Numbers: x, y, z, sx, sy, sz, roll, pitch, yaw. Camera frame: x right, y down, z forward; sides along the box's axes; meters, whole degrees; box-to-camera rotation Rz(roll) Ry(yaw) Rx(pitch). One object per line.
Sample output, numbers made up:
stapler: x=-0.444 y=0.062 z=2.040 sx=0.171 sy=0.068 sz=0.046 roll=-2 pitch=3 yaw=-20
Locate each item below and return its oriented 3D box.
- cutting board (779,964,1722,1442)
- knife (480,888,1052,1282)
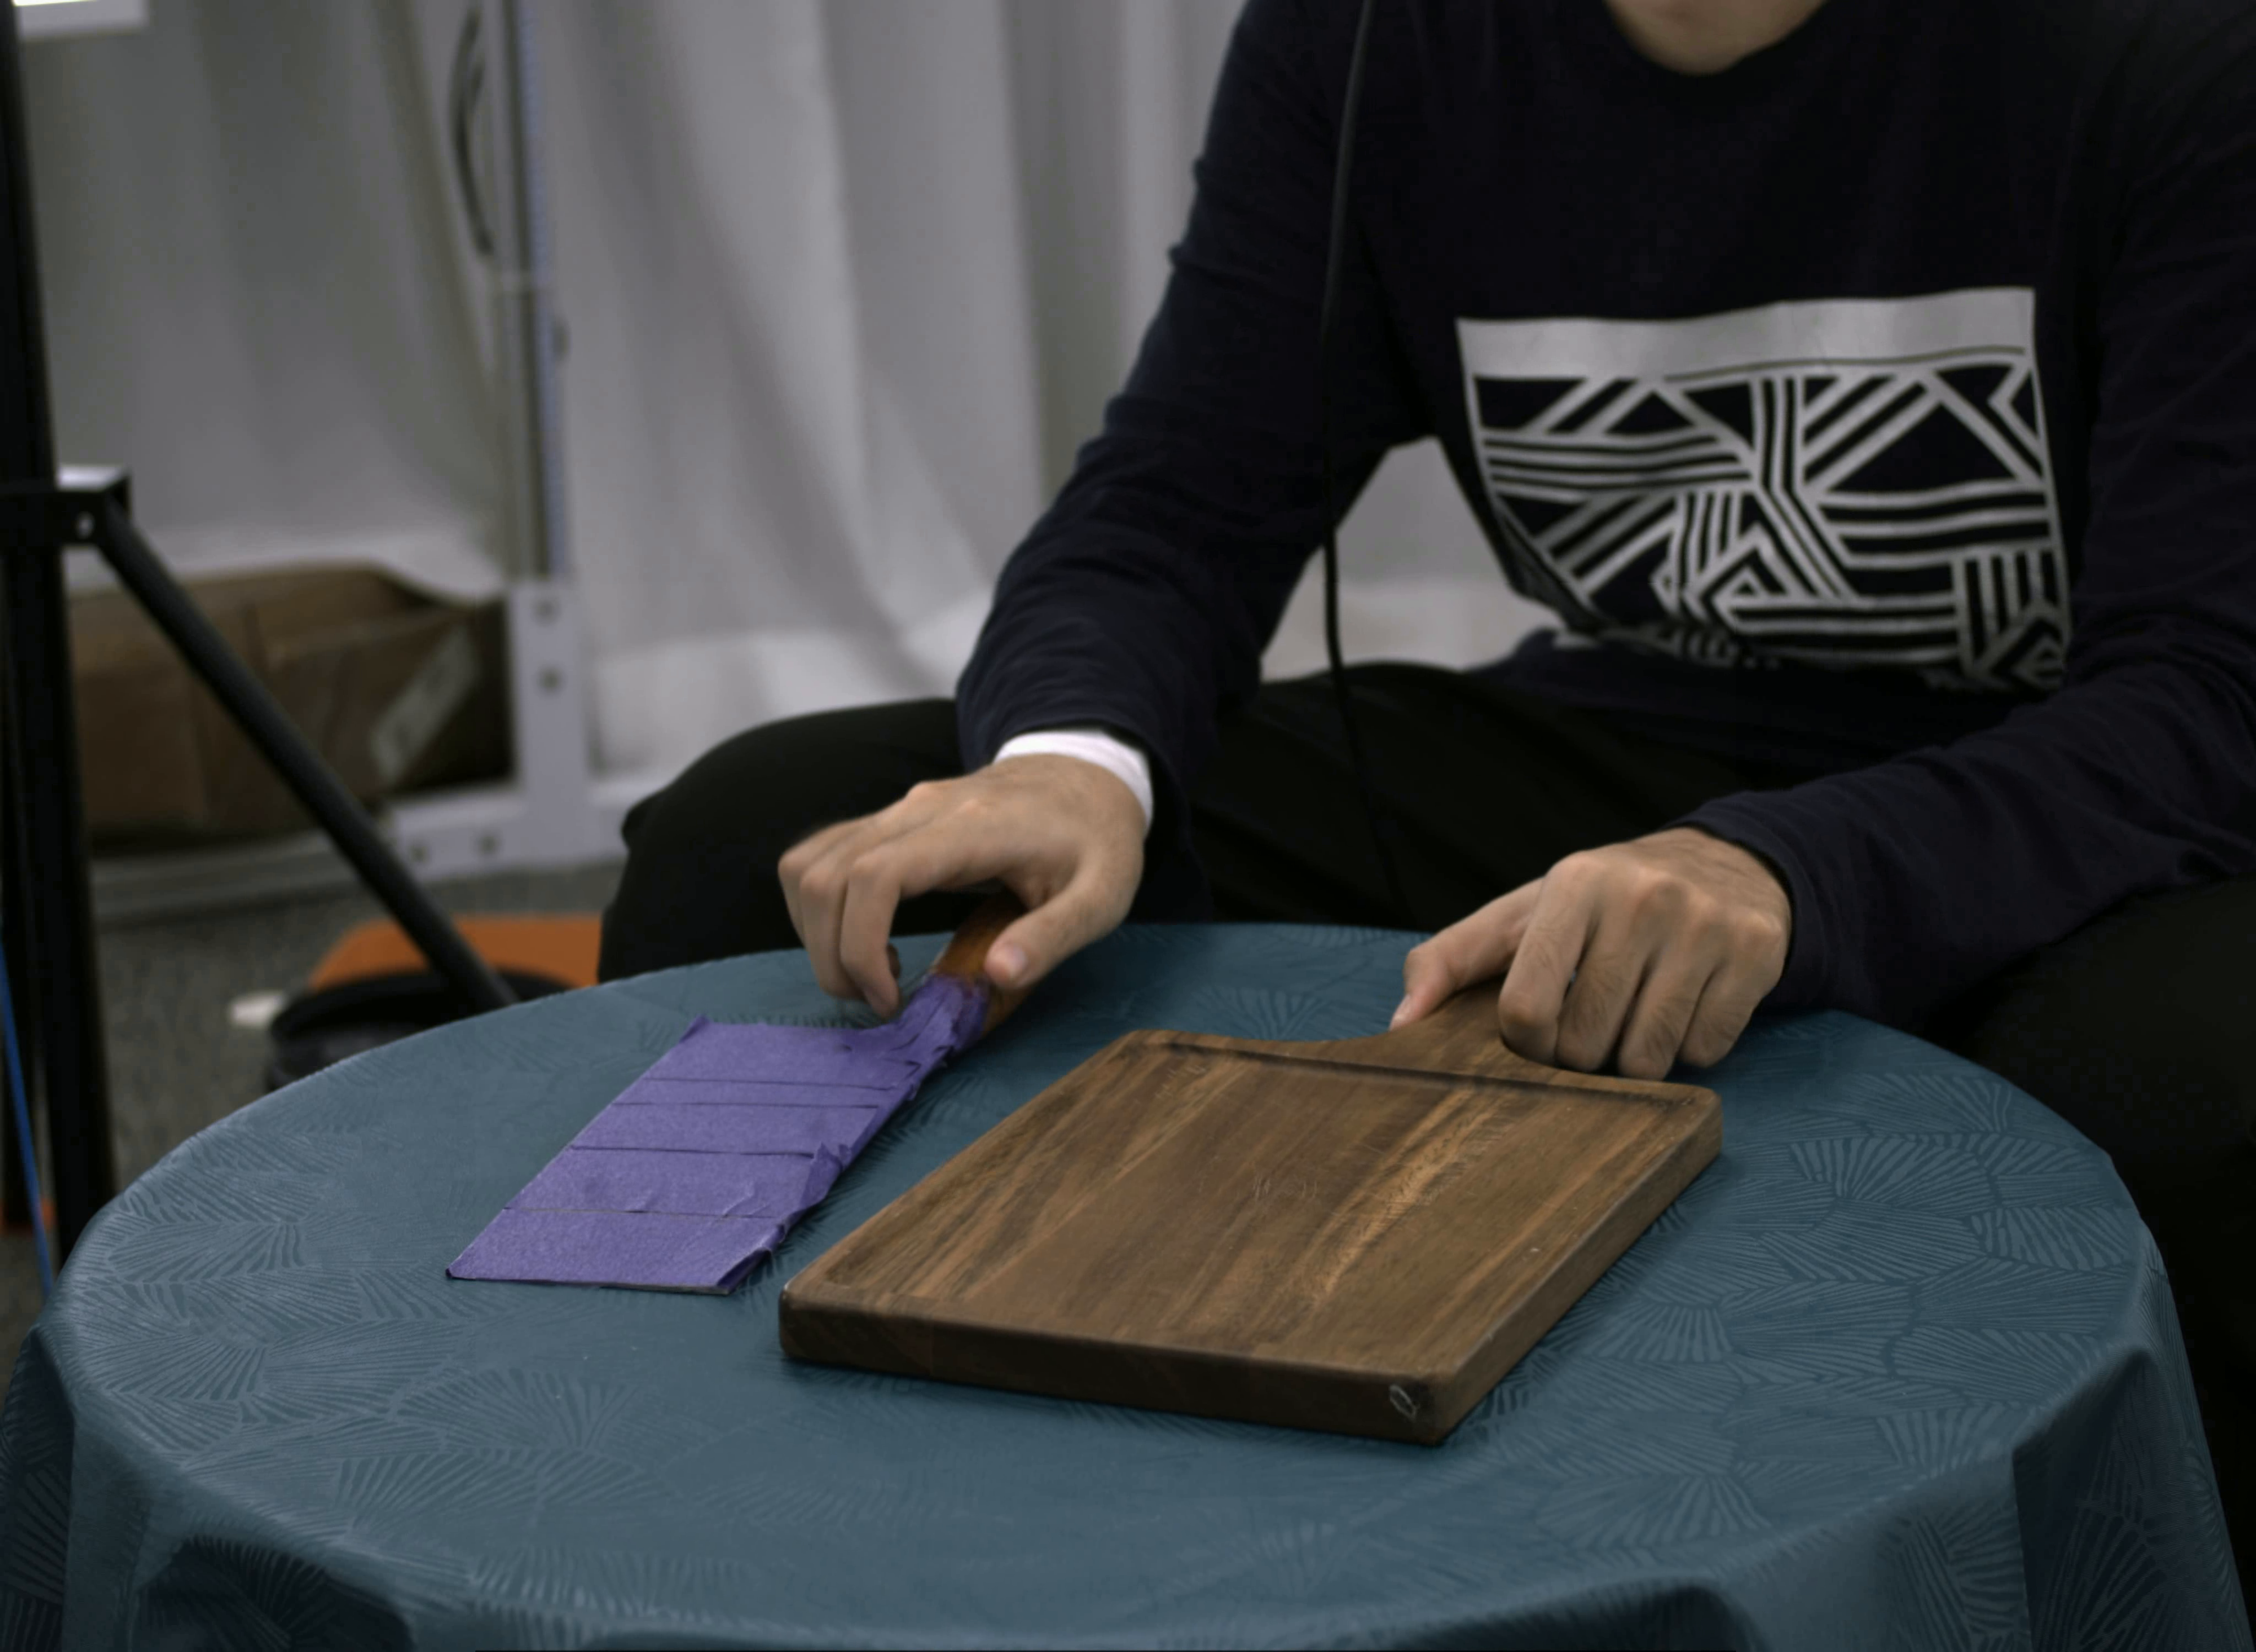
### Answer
cutting board: x=0.060 y=0.099 z=1.548 sx=0.204 sy=0.023 sz=0.347 roll=5 pitch=17 yaw=24
knife: x=-0.108 y=0.077 z=1.641 sx=0.105 sy=0.032 sz=0.312 roll=2 pitch=17 yaw=16
